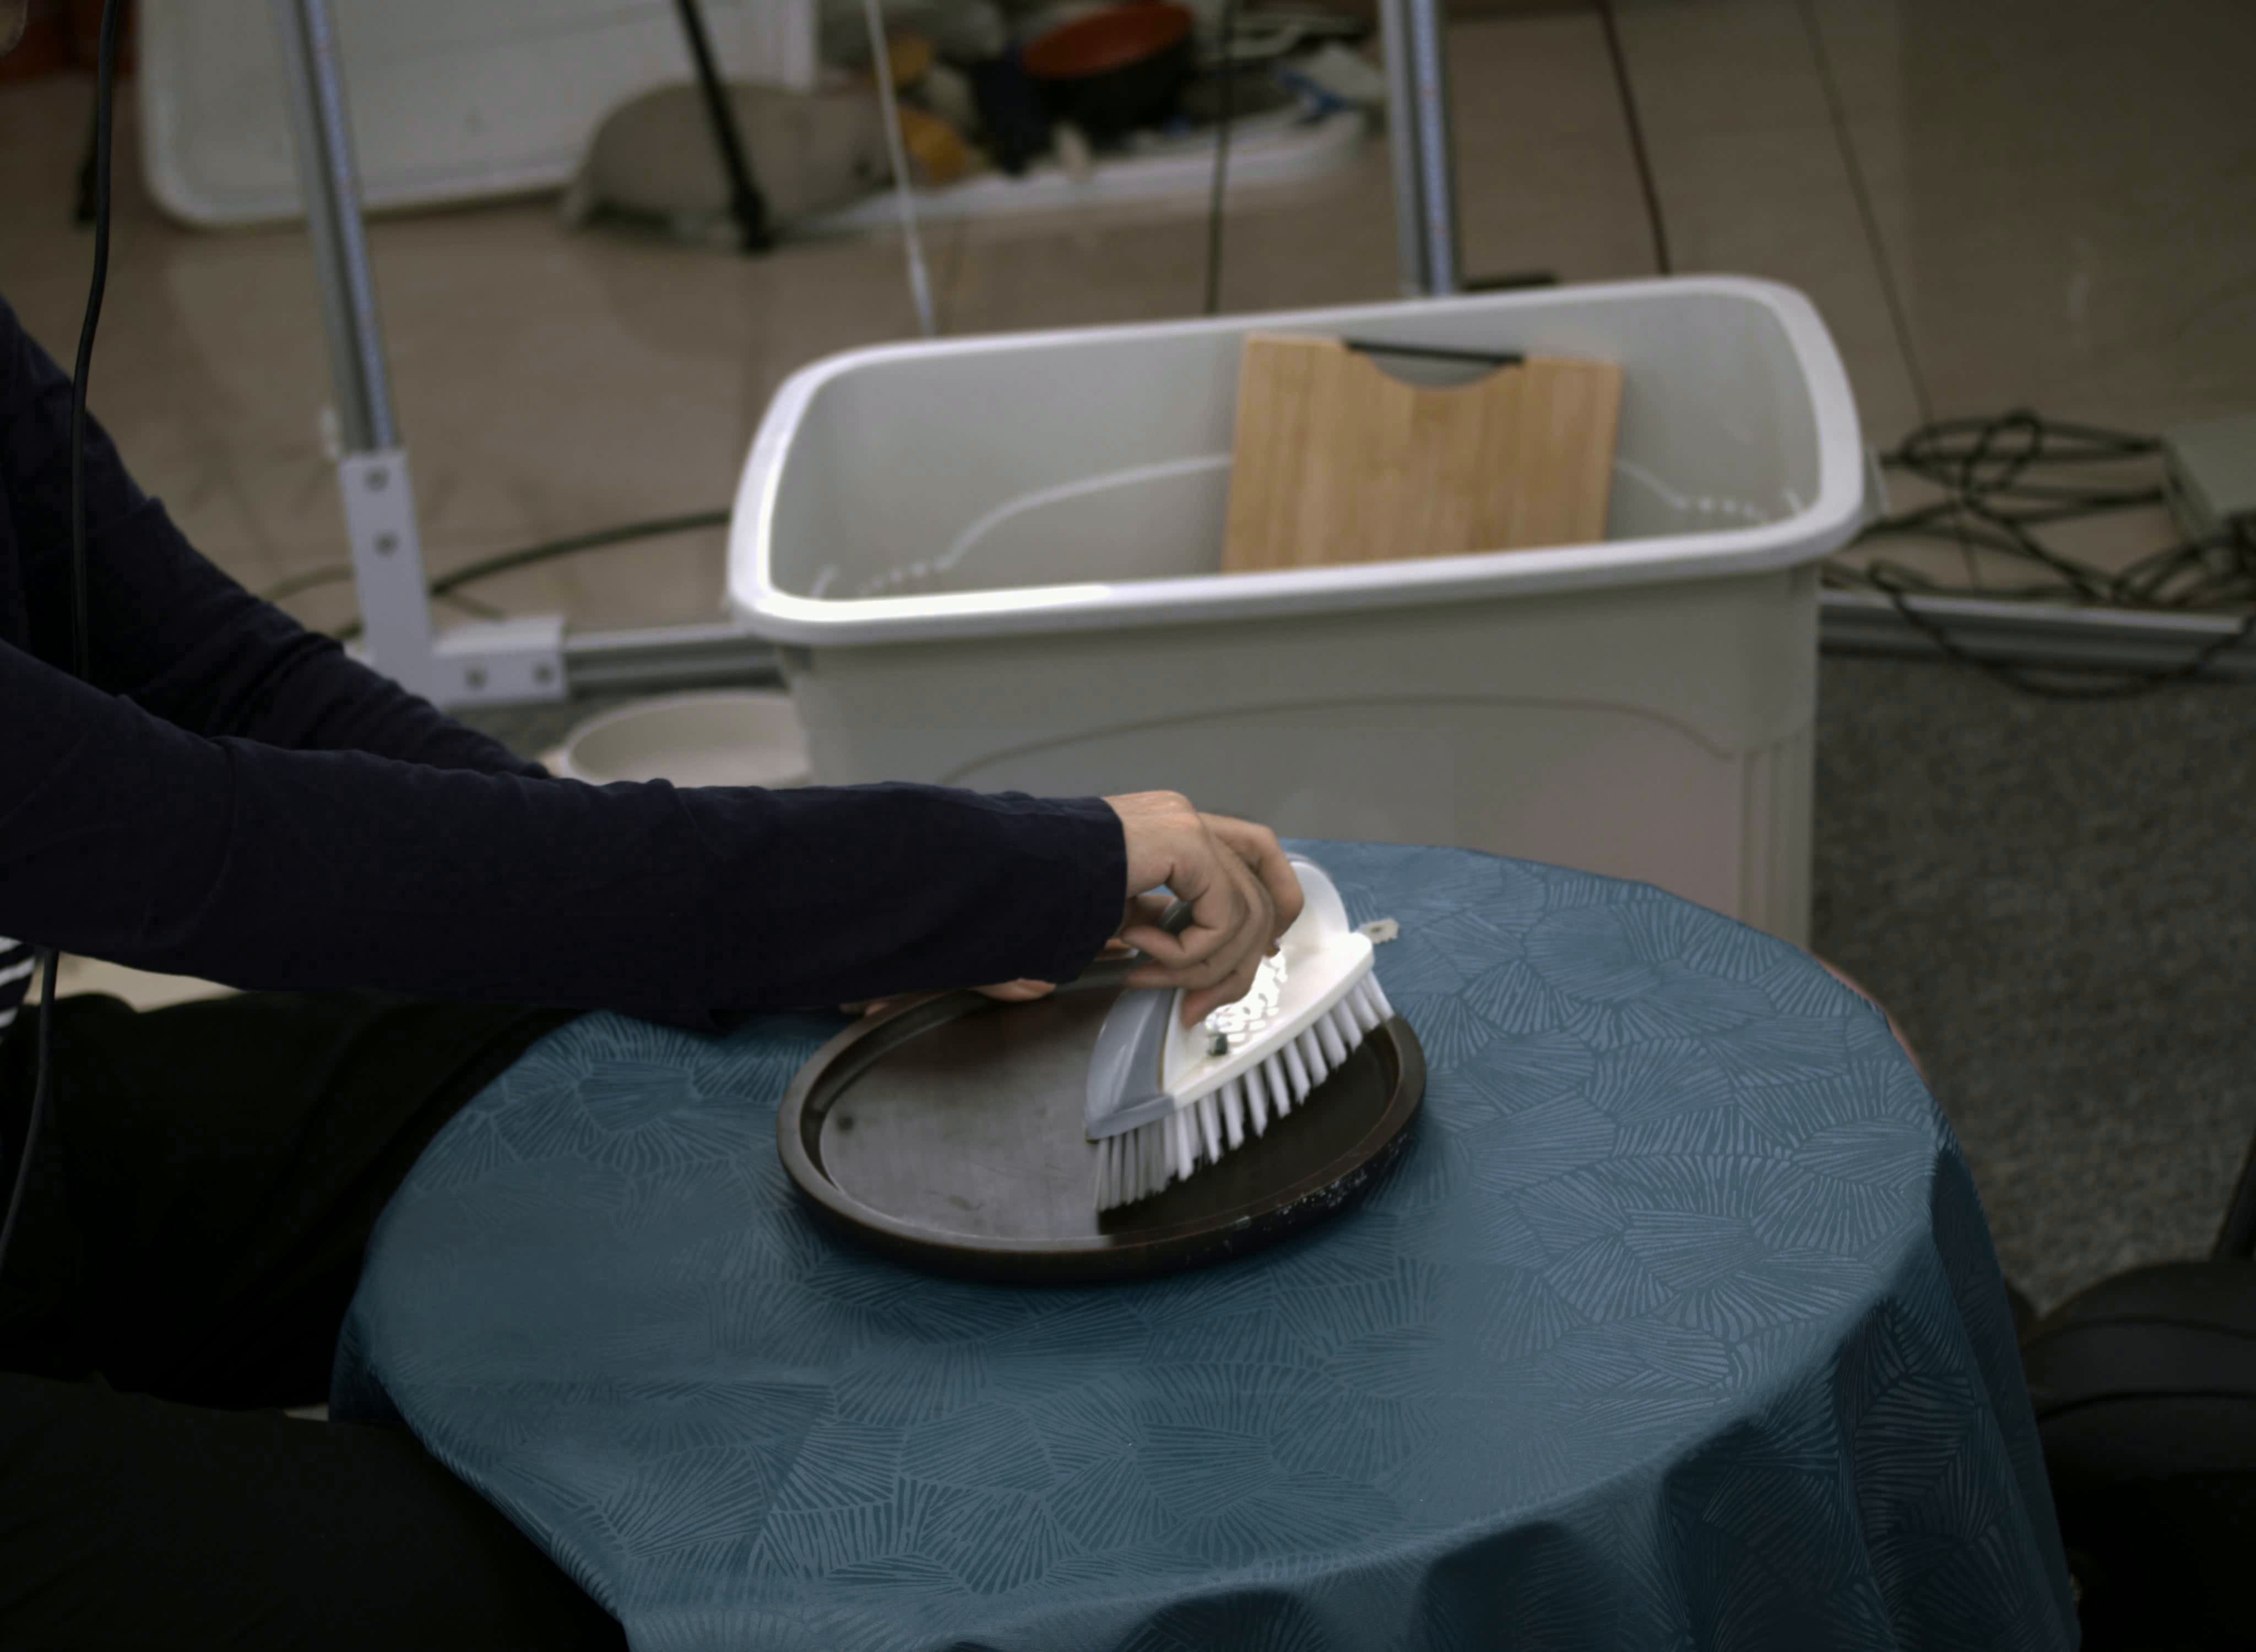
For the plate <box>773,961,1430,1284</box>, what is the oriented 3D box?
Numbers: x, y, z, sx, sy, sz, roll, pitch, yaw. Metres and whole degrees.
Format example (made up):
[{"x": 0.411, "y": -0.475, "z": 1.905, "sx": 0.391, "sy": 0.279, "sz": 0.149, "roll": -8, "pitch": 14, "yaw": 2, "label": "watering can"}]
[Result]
[{"x": -0.010, "y": 0.112, "z": 2.182, "sx": 0.254, "sy": 0.029, "sz": 0.251, "roll": -4, "pitch": 25, "yaw": 2, "label": "plate"}]

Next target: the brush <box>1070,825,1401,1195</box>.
[{"x": 0.030, "y": 0.063, "z": 2.140, "sx": 0.061, "sy": 0.096, "sz": 0.173, "roll": 11, "pitch": 34, "yaw": 38, "label": "brush"}]
